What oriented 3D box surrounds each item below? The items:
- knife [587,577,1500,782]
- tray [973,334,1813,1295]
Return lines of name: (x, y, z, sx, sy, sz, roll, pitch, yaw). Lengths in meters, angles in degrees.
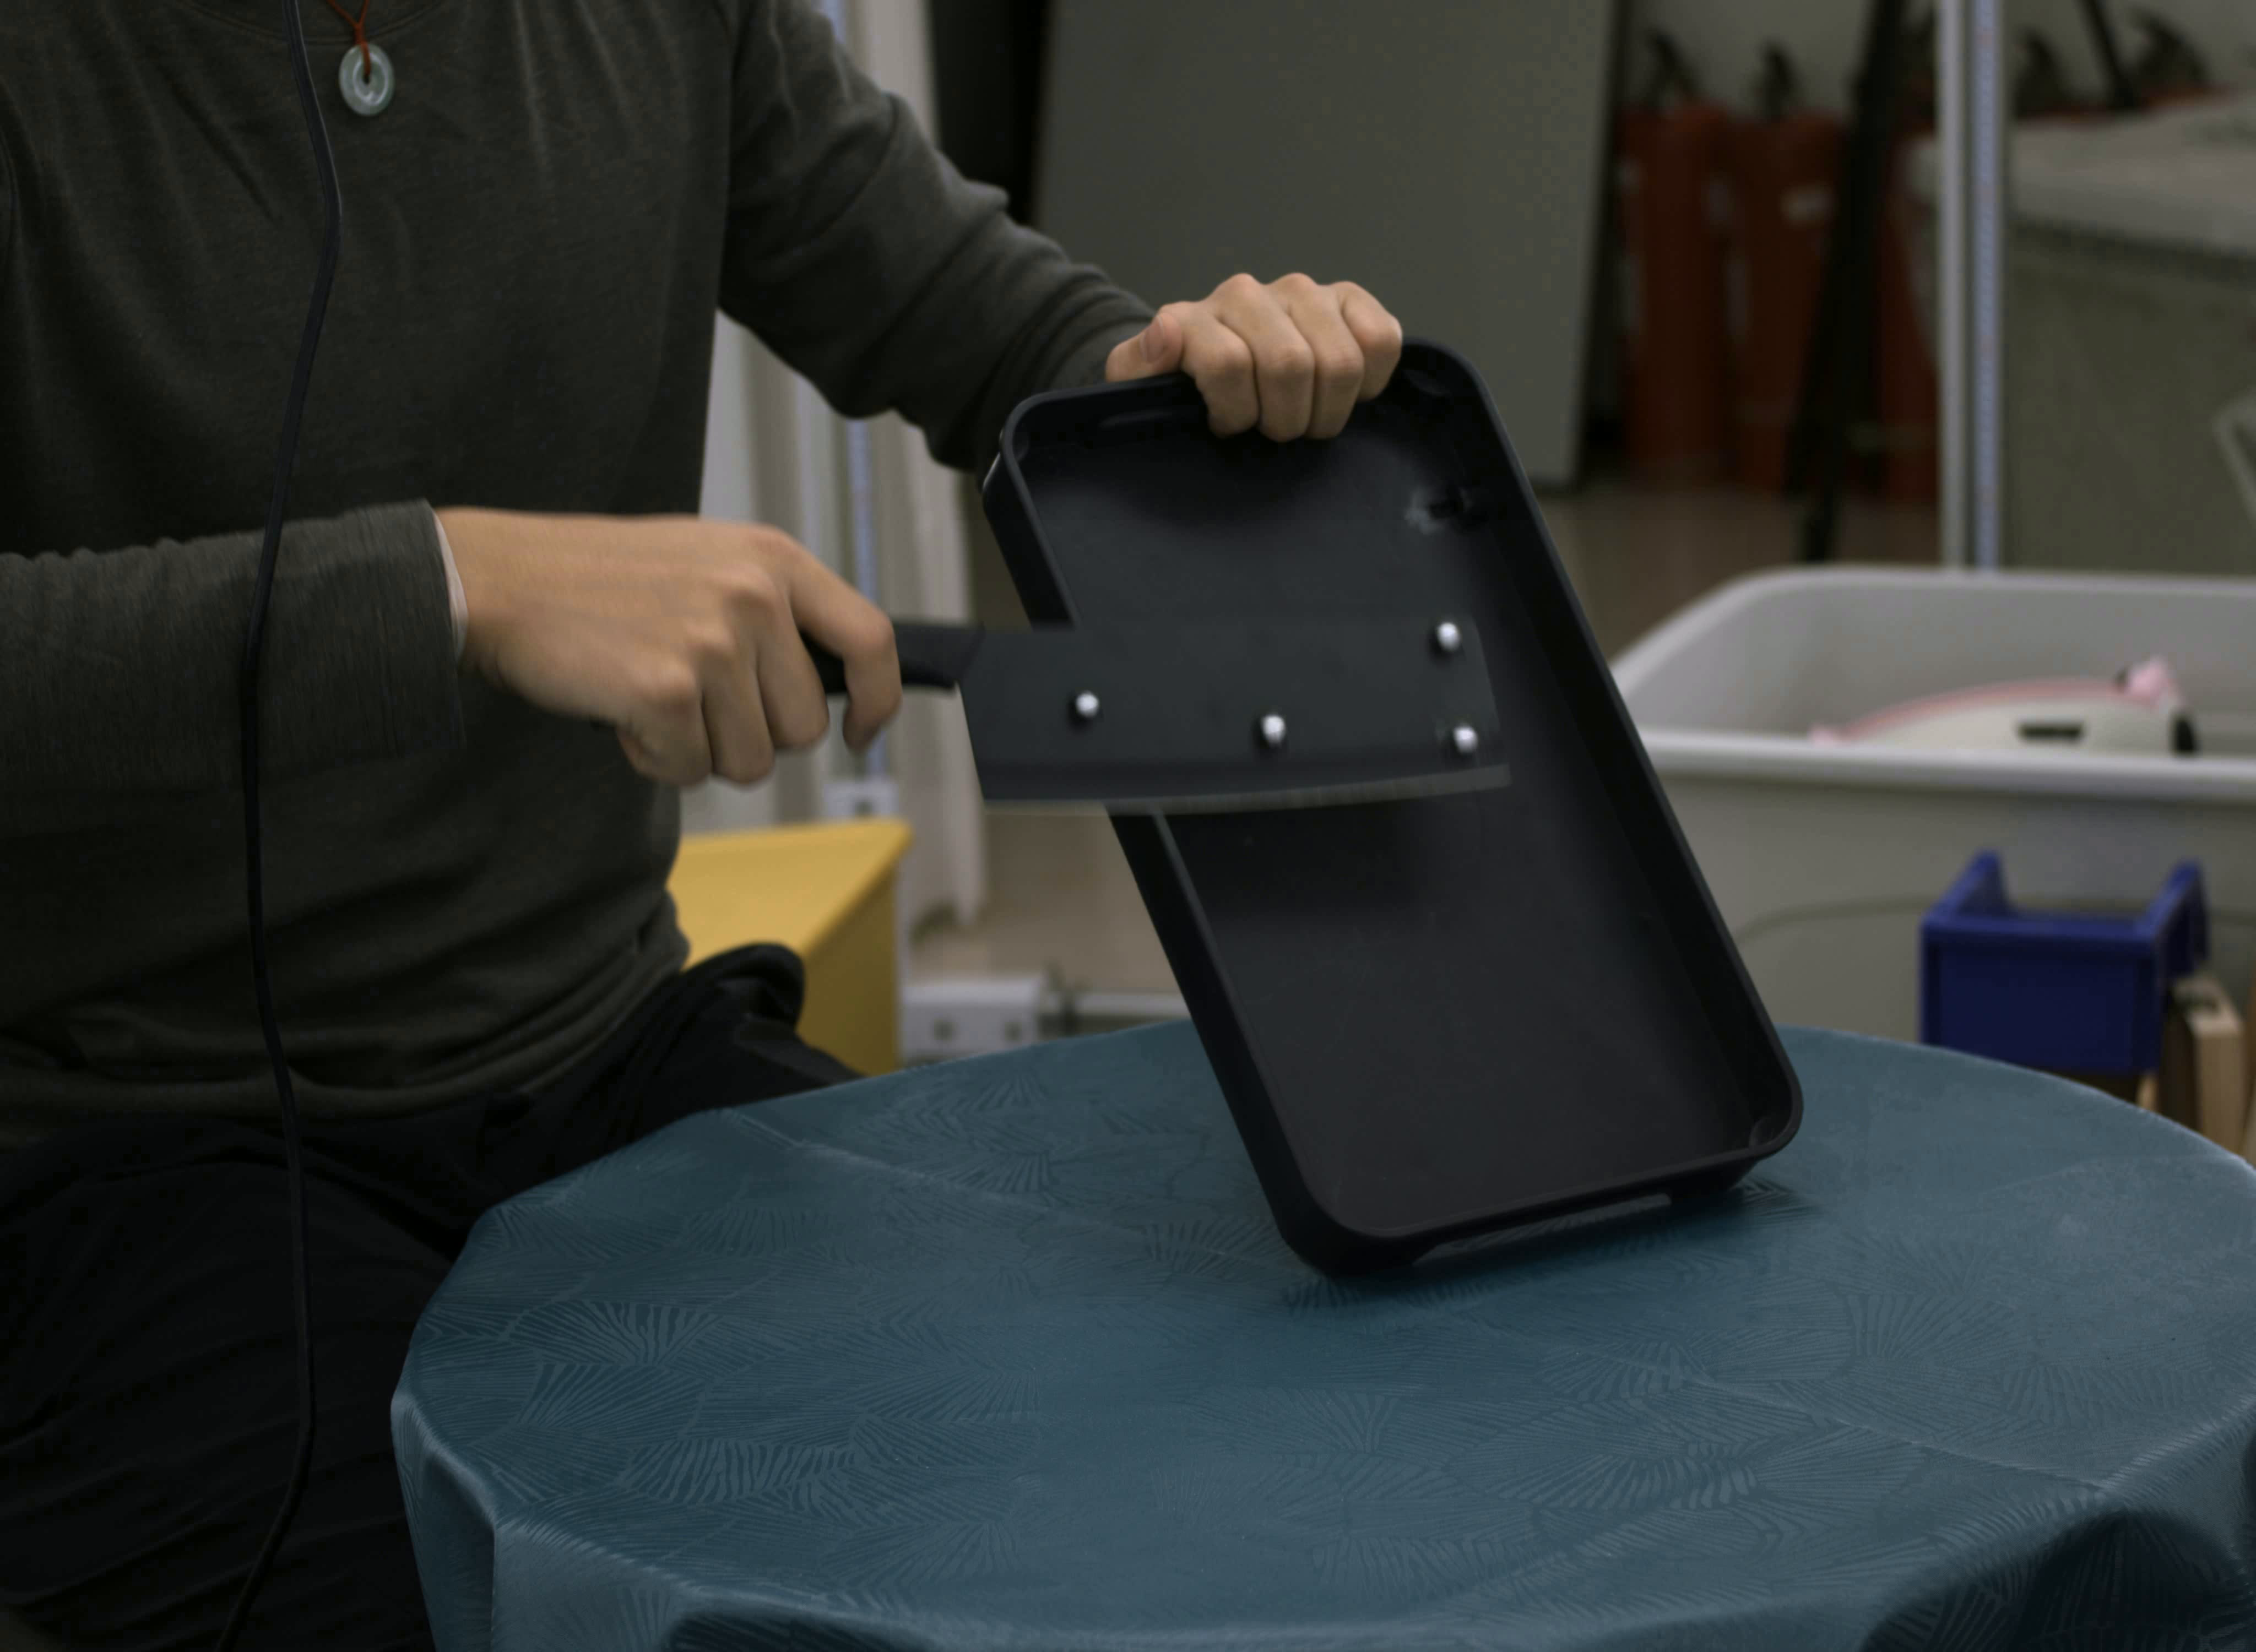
knife: (-0.025, -0.048, 1.717, 0.296, 0.082, 0.021, 1, -31, -14)
tray: (0.083, -0.009, 1.750, 0.180, 0.322, 0.037, -12, -26, -26)
